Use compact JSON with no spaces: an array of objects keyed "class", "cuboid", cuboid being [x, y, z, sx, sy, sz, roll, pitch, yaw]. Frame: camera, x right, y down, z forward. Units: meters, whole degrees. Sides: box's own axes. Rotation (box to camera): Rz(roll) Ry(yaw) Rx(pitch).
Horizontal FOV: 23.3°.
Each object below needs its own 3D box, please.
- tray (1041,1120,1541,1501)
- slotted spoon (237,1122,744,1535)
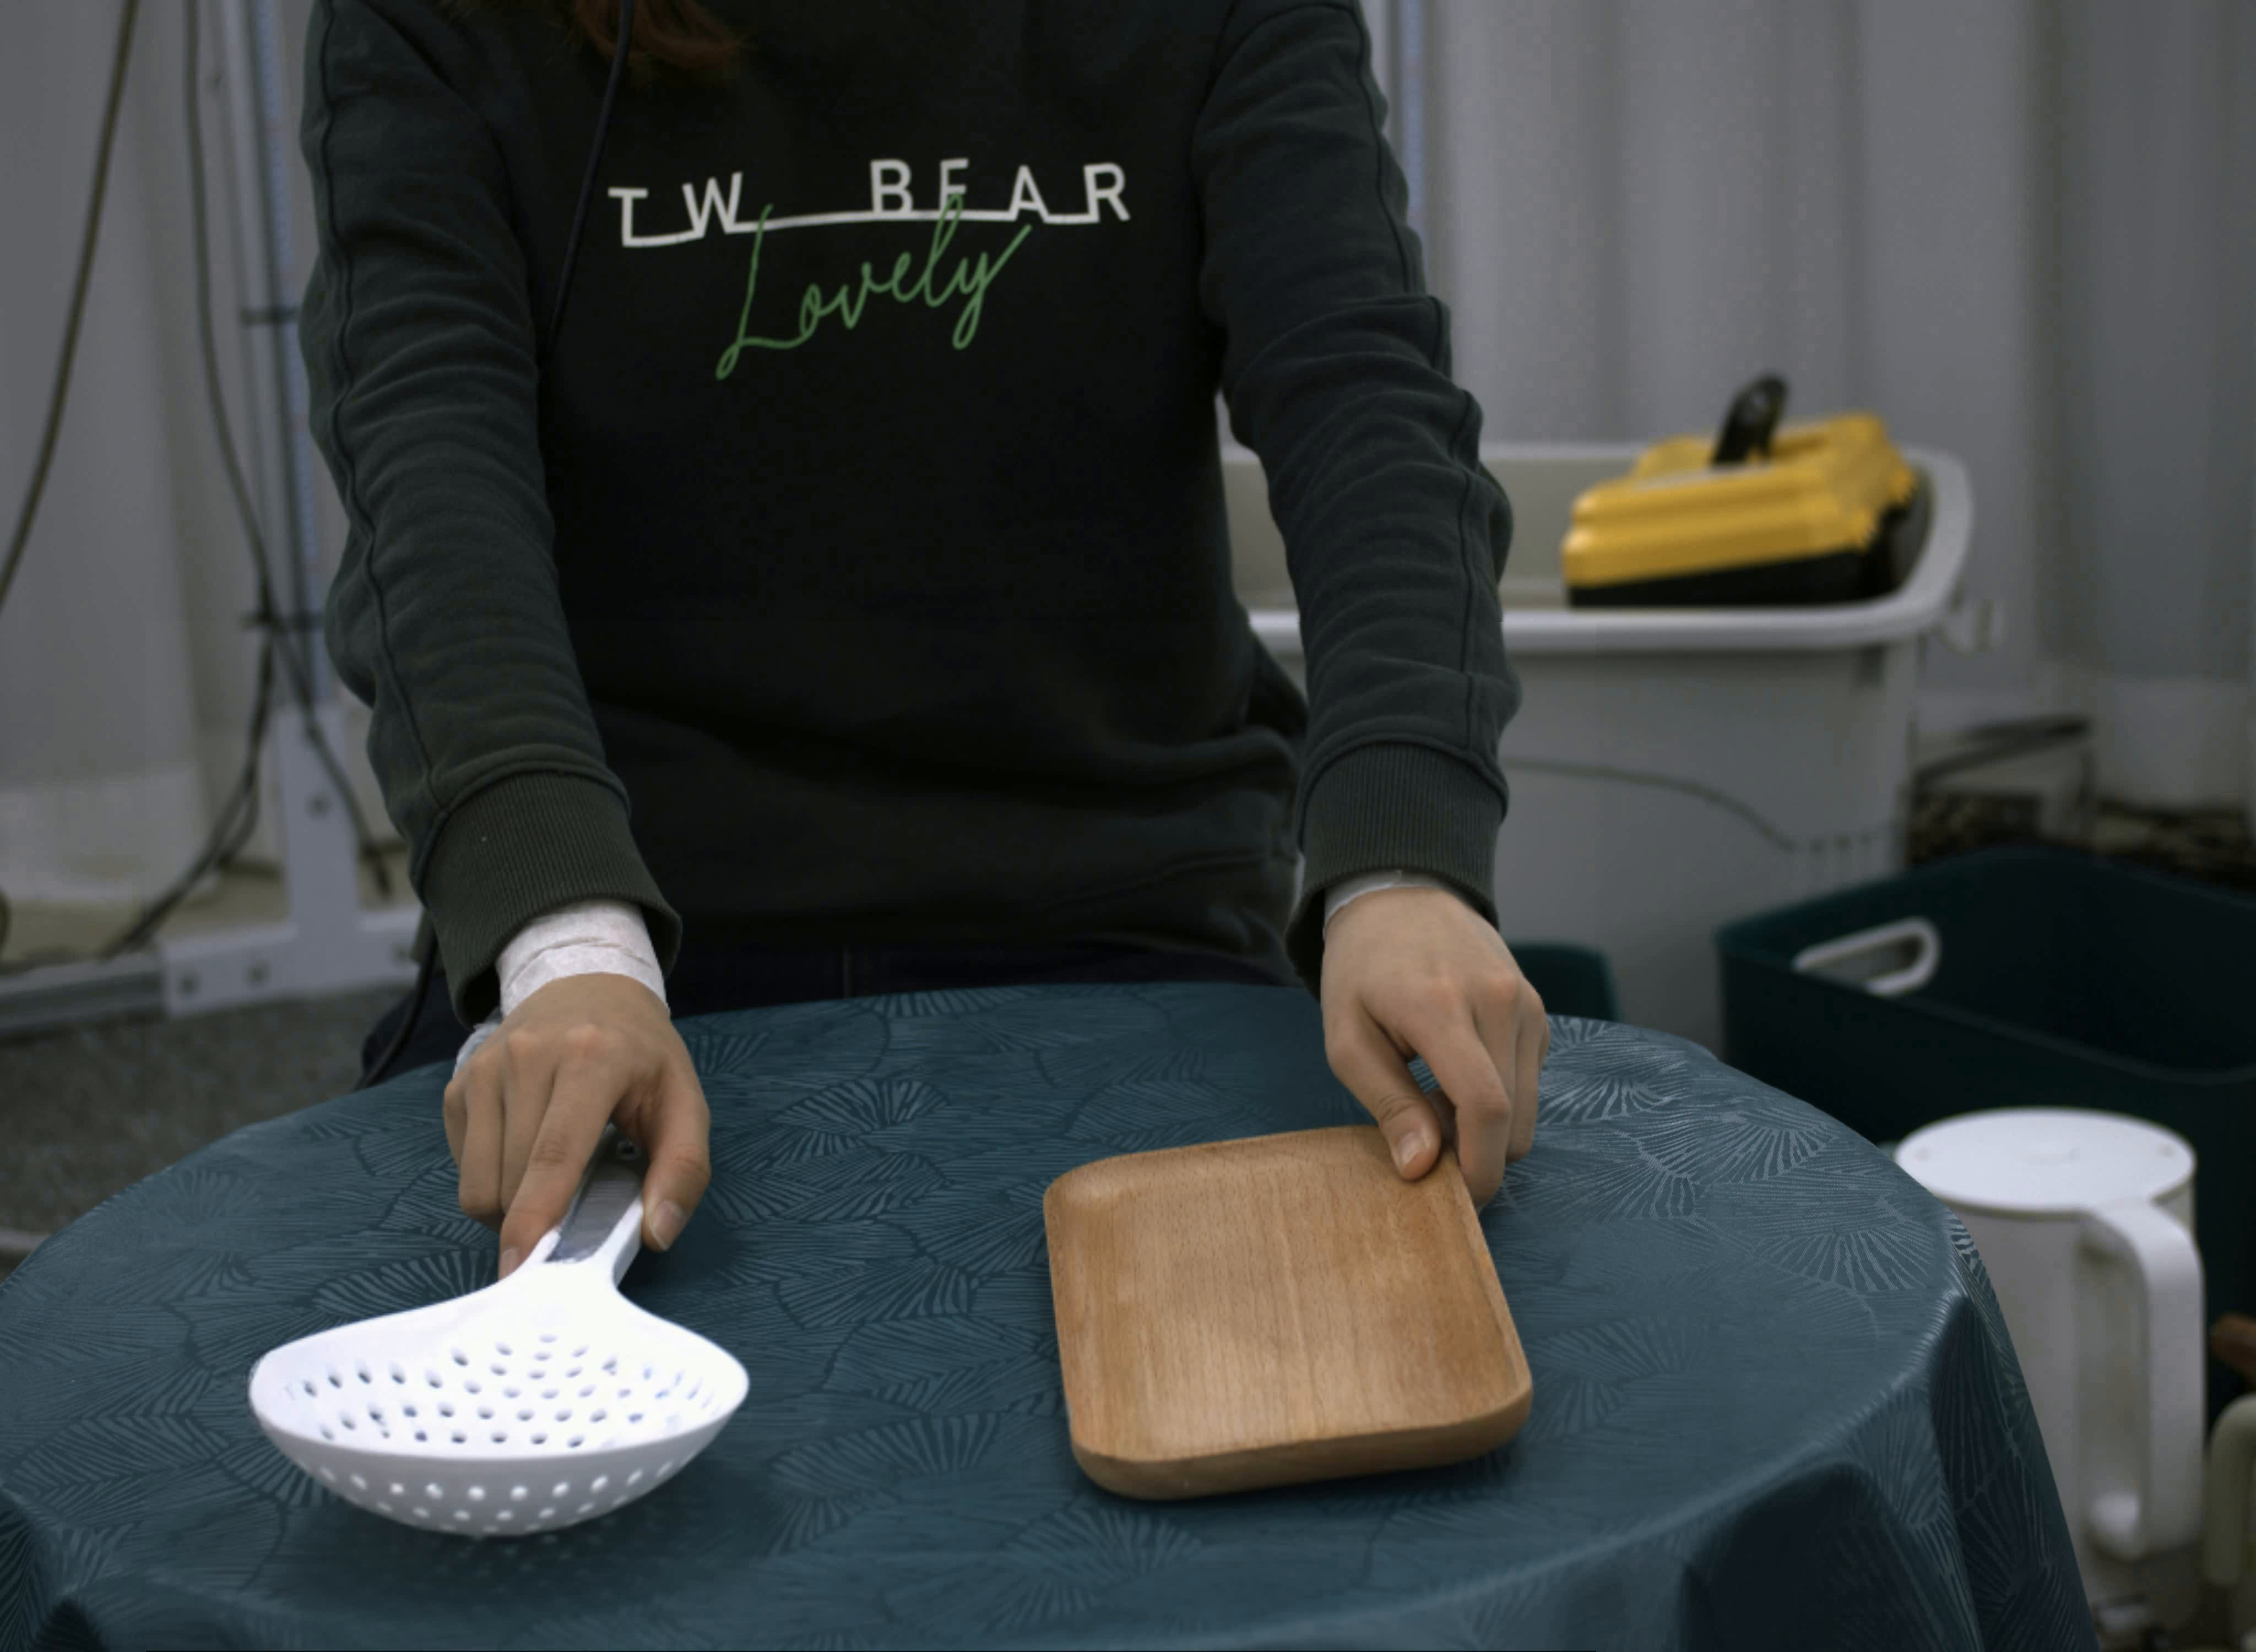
[{"class":"tray","cuboid":[0.043,0.136,1.574,0.130,0.023,0.252,-5,15,-1]},{"class":"slotted spoon","cuboid":[-0.163,0.135,1.572,0.135,0.045,0.352,3,16,3]}]
